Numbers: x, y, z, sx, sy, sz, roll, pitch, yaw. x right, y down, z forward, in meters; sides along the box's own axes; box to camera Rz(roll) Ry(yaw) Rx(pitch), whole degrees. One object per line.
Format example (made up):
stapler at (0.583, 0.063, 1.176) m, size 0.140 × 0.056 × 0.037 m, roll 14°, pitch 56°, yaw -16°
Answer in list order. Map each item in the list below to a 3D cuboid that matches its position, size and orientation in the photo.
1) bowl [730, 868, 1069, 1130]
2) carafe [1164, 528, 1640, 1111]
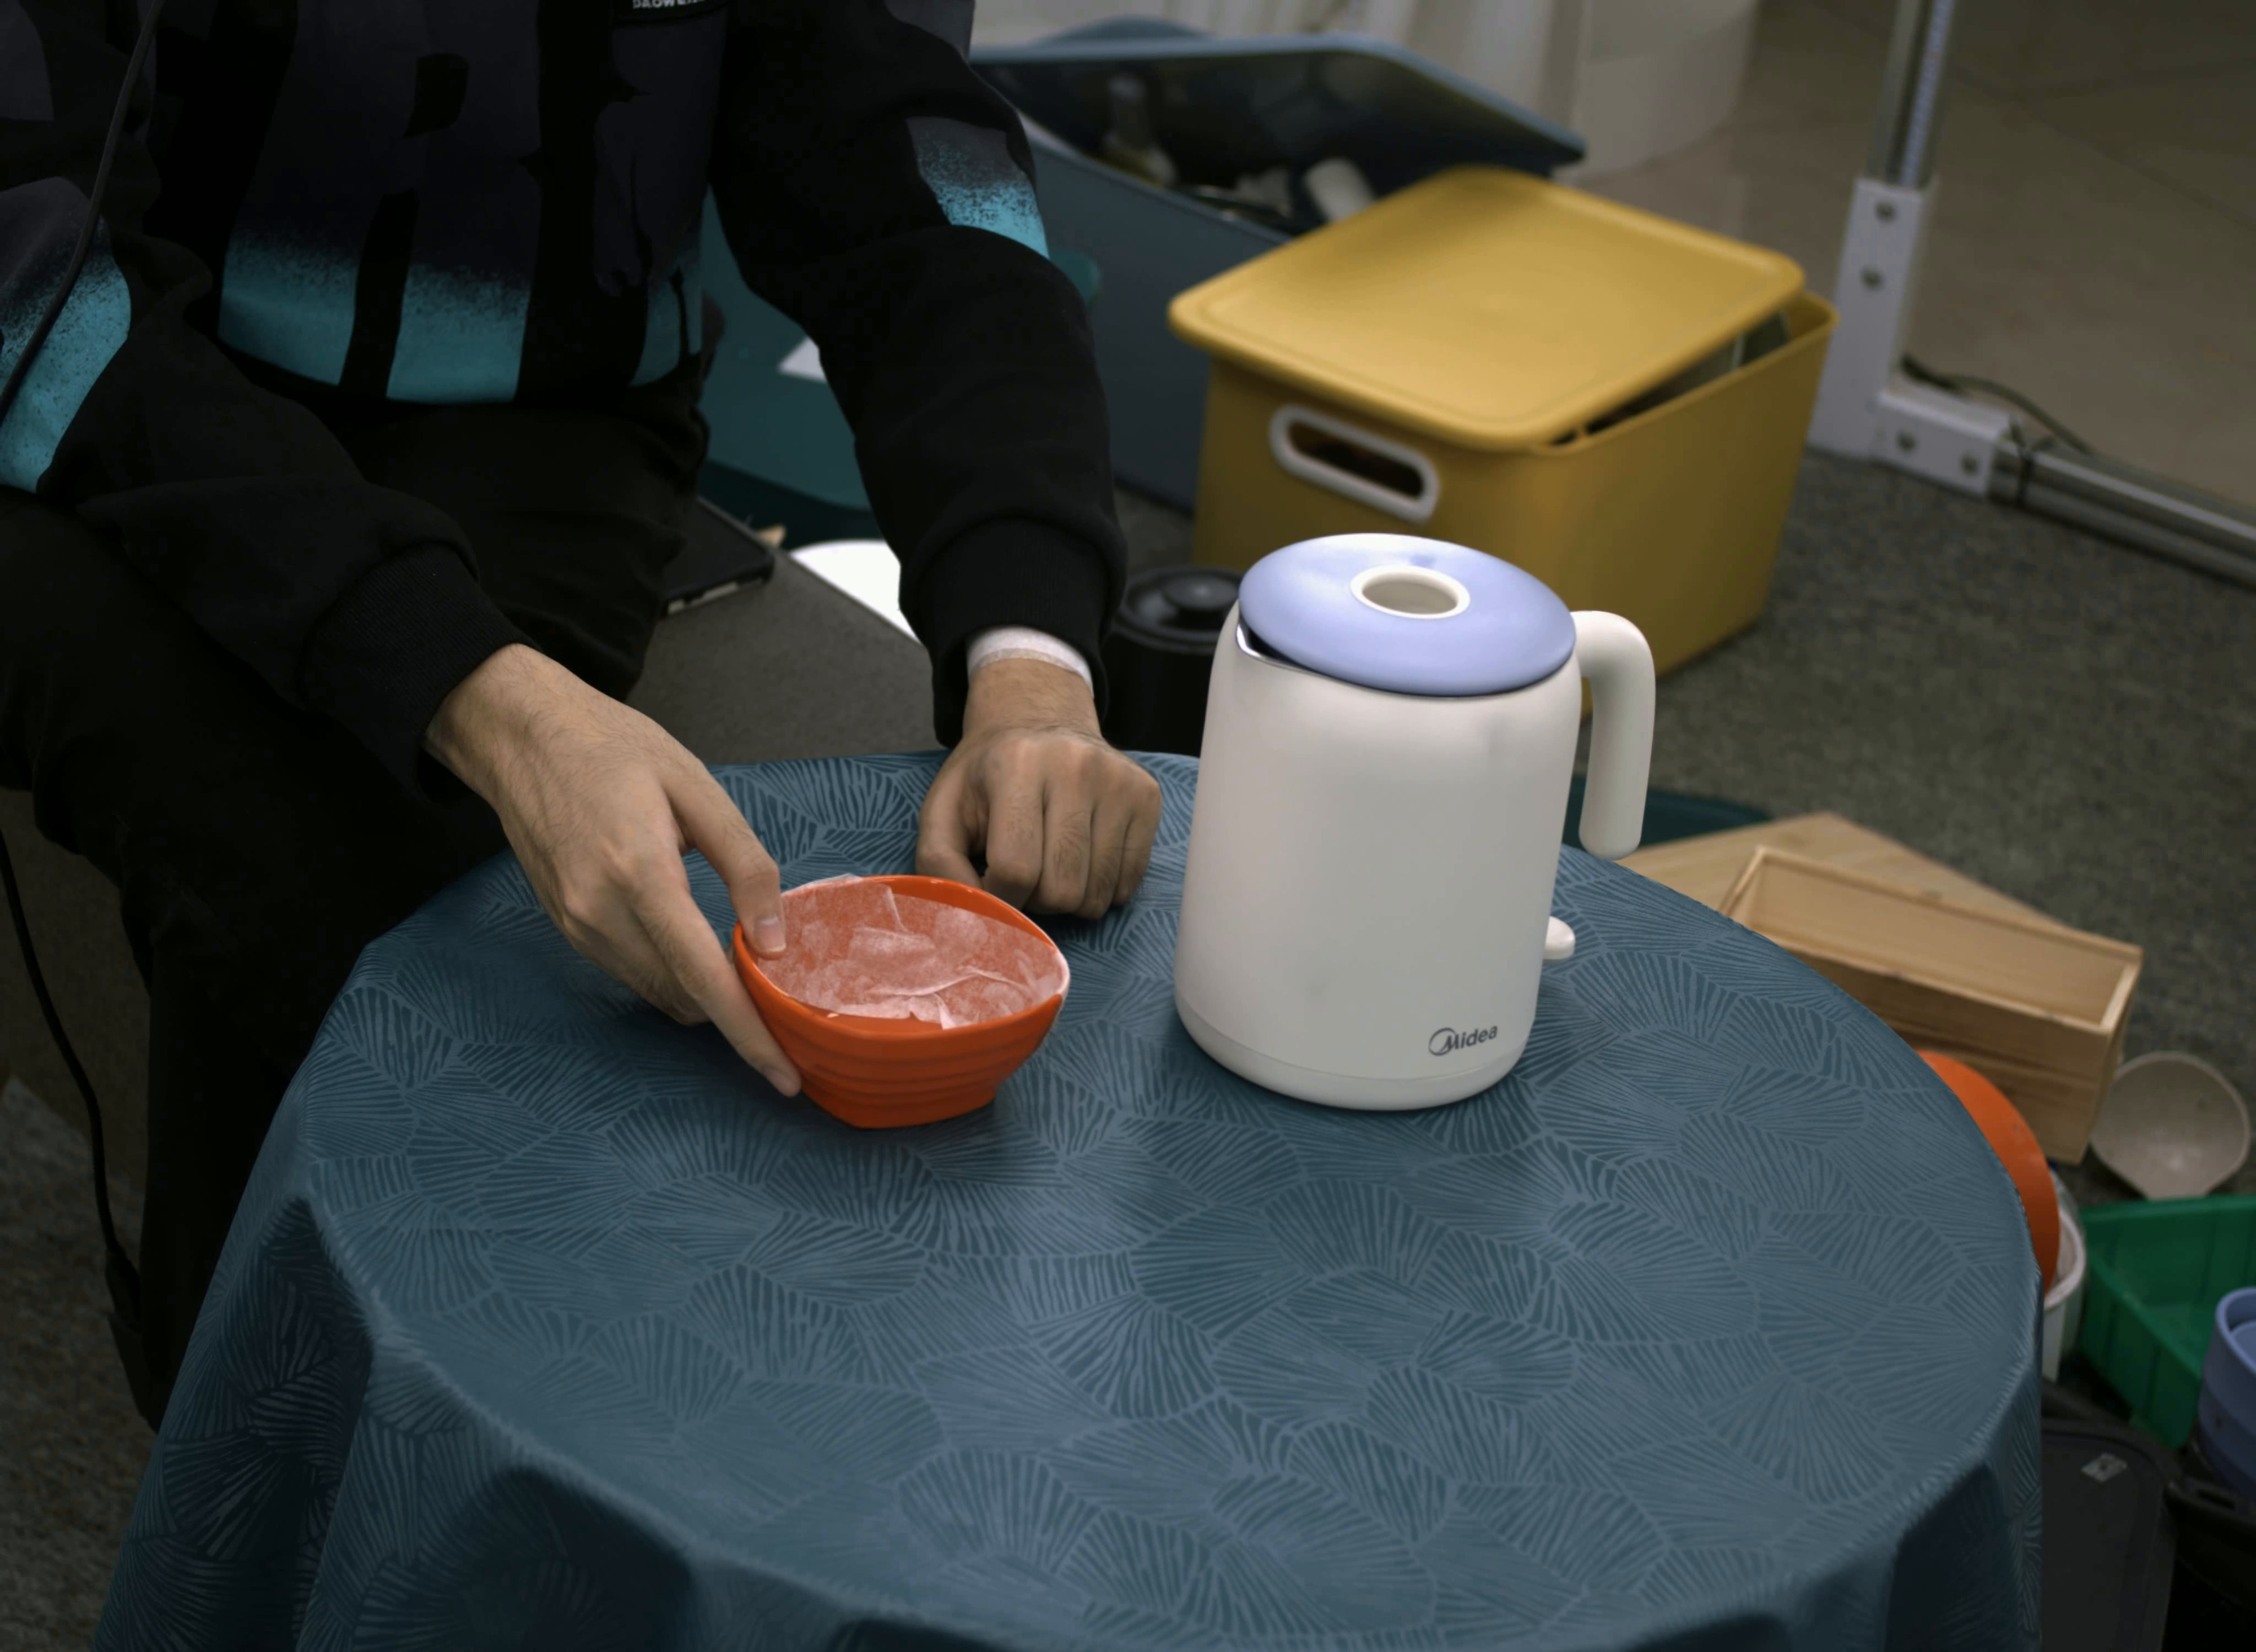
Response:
bowl at (-0.081, 0.064, 1.839) m, size 0.118 × 0.051 × 0.119 m, roll 4°, pitch 29°, yaw -3°
carafe at (0.106, -0.006, 1.891) m, size 0.190 × 0.182 × 0.133 m, roll -10°, pitch 32°, yaw -34°
